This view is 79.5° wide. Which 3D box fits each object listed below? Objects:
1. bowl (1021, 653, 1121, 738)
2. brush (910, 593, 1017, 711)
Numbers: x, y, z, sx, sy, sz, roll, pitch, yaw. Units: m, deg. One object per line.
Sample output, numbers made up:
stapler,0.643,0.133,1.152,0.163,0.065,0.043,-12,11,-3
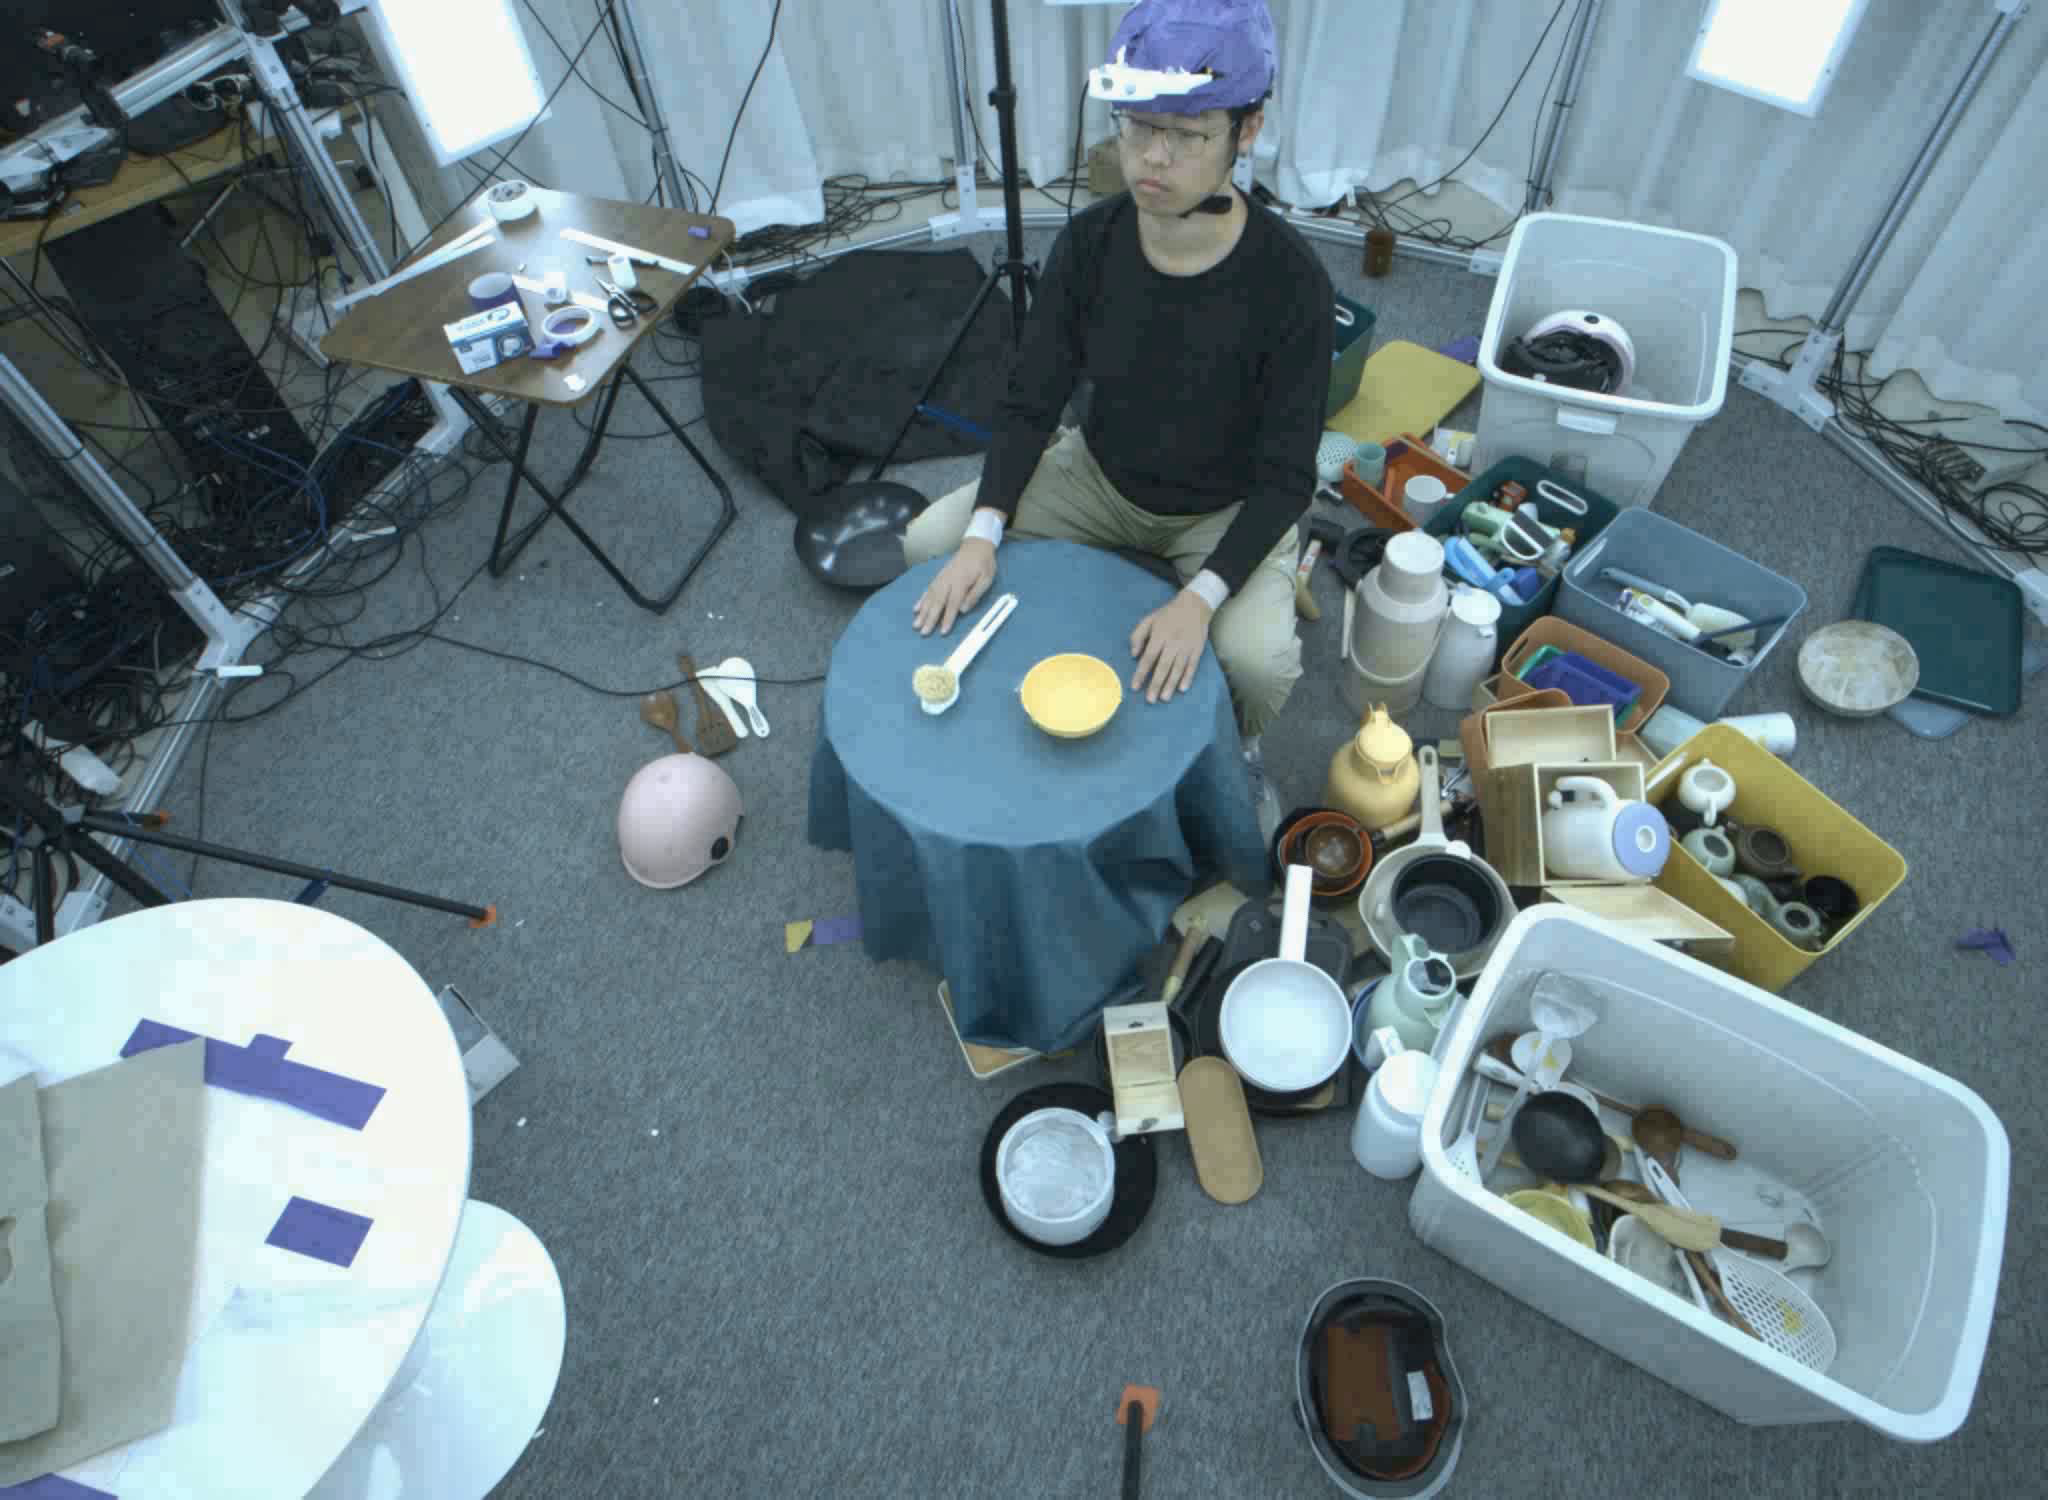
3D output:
bowl,0.068,-0.068,1.798,0.145,0.061,0.144,0,55,1
brush,-0.086,-0.167,1.876,0.068,0.056,0.267,26,59,14
